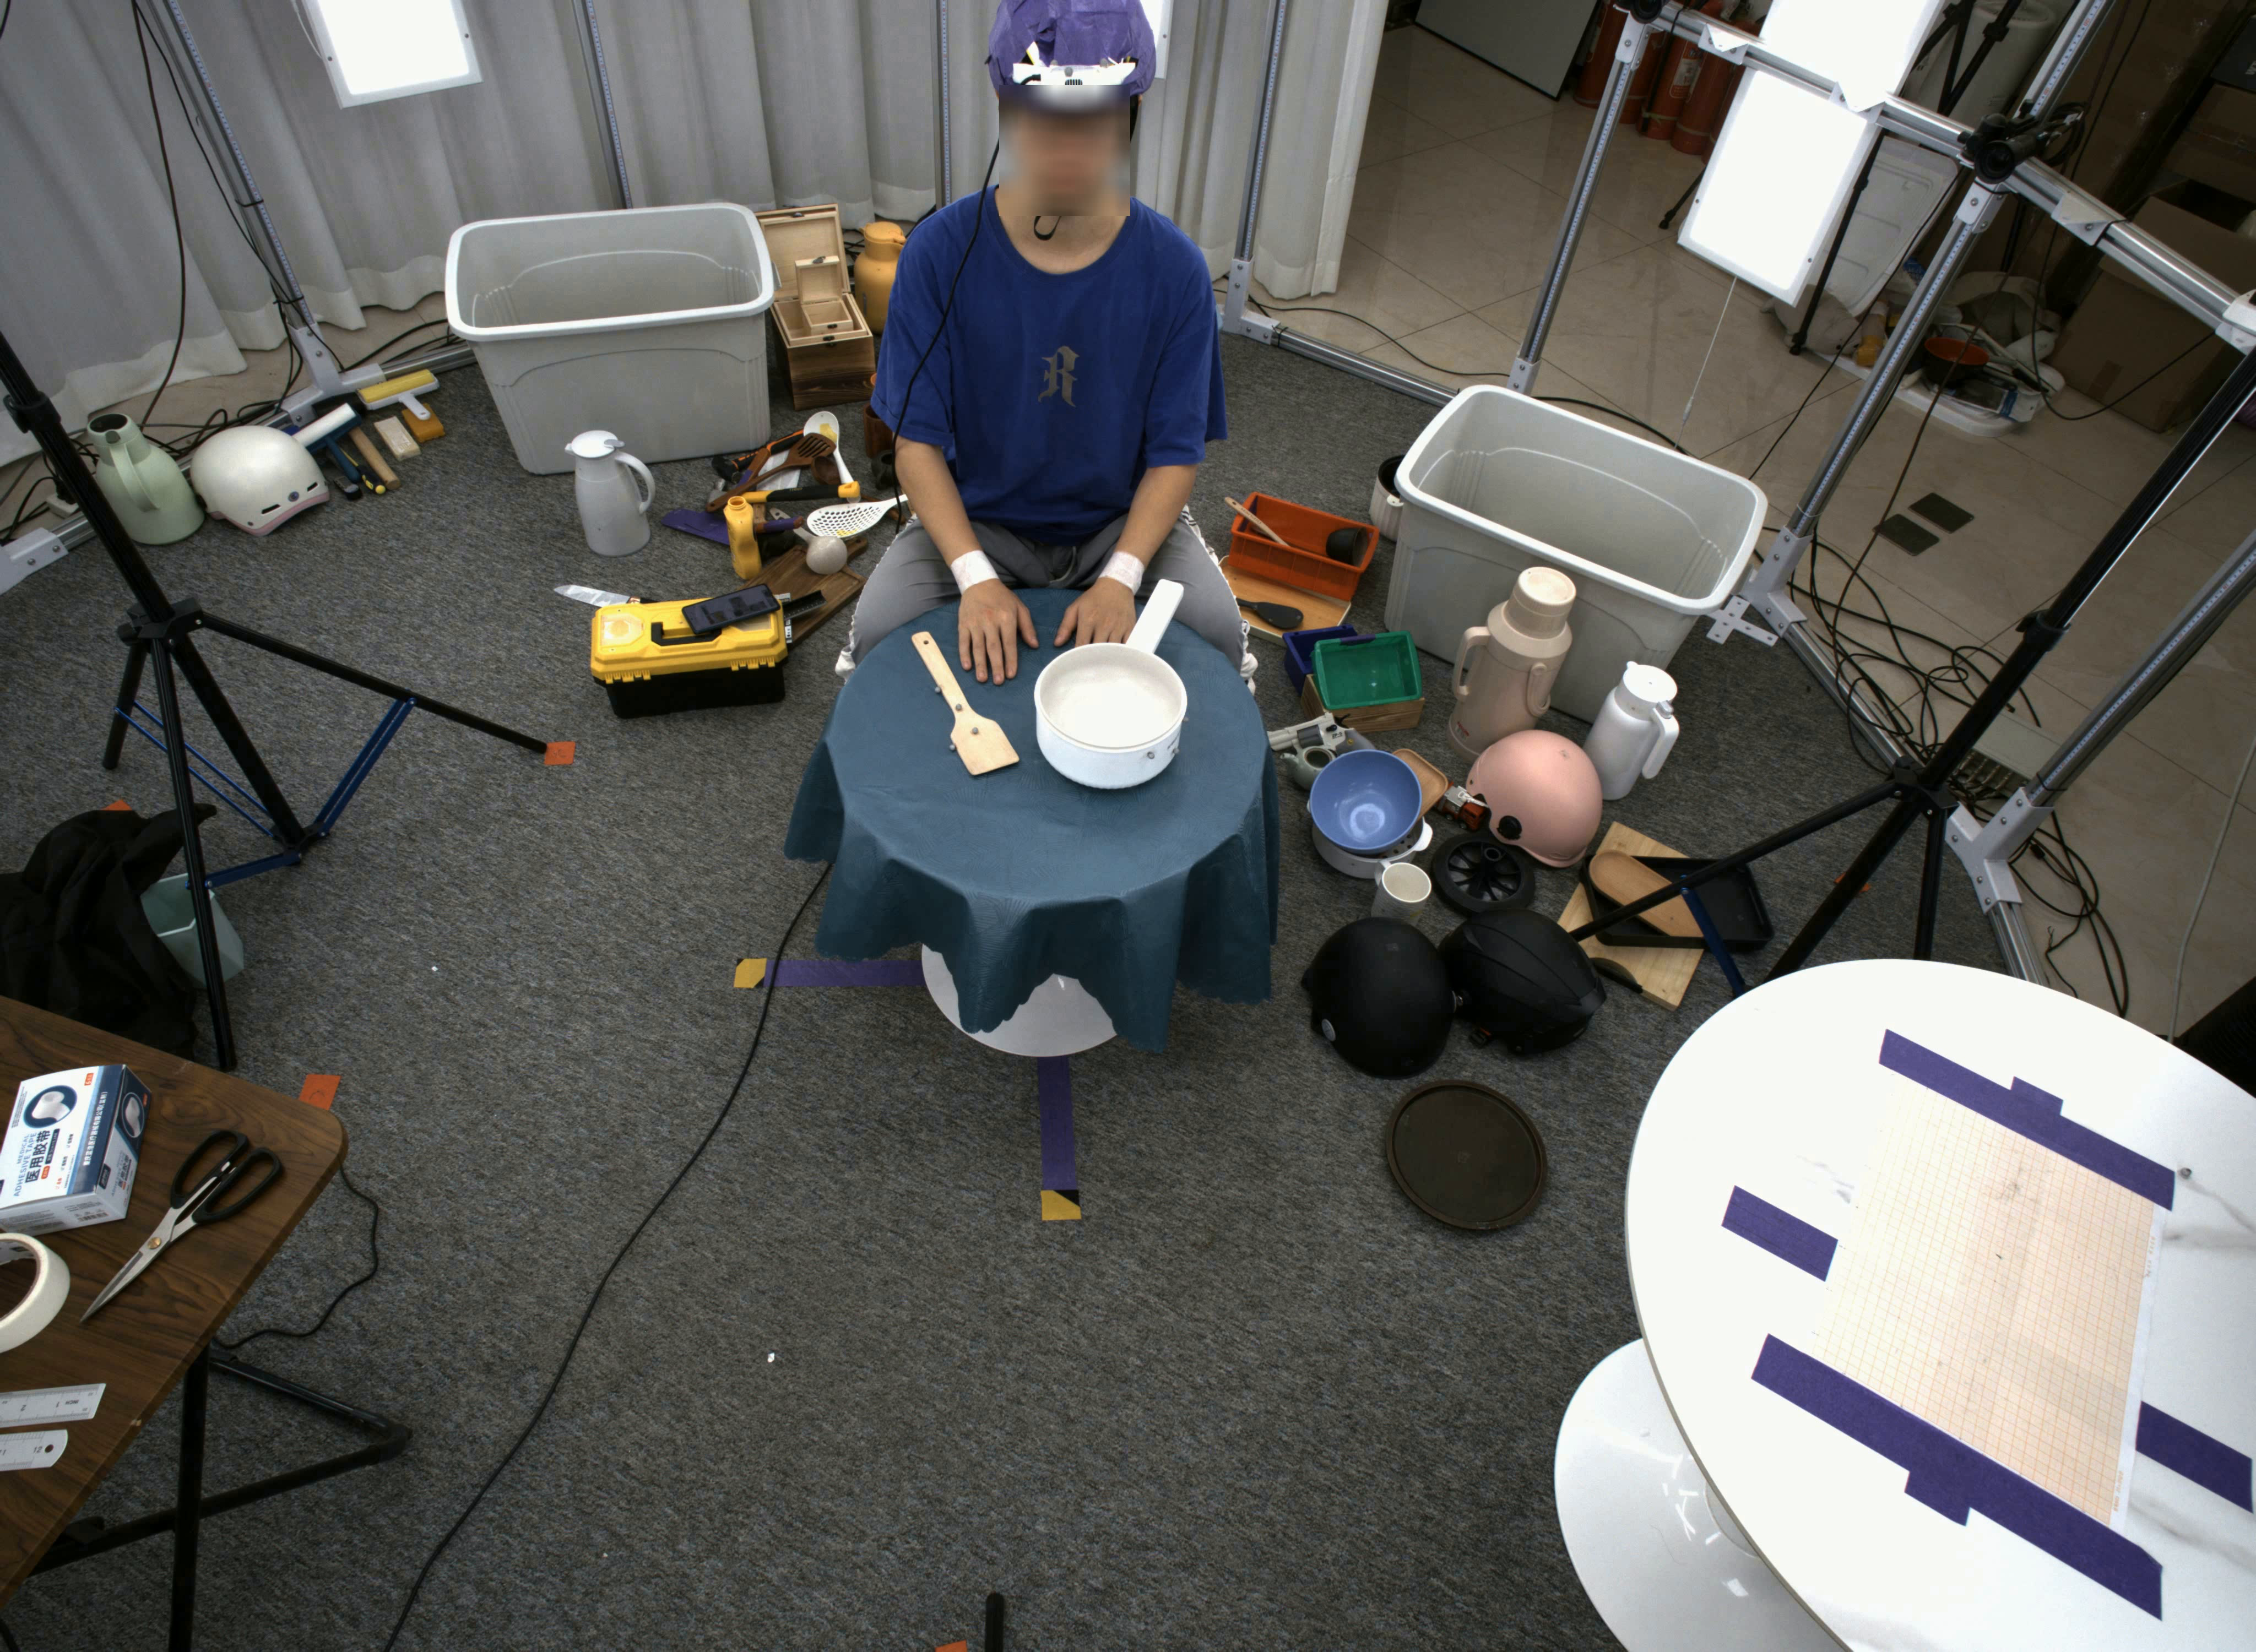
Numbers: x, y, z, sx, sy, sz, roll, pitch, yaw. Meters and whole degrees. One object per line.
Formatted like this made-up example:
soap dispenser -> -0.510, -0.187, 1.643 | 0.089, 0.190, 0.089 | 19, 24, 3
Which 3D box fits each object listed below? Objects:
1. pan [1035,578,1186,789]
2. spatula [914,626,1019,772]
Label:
pan -> 0.002, -0.199, 1.781 | 0.202, 0.099, 0.362 | 16, 51, 12
spatula -> -0.241, -0.185, 1.809 | 0.072, 0.010, 0.299 | -19, 54, -17
